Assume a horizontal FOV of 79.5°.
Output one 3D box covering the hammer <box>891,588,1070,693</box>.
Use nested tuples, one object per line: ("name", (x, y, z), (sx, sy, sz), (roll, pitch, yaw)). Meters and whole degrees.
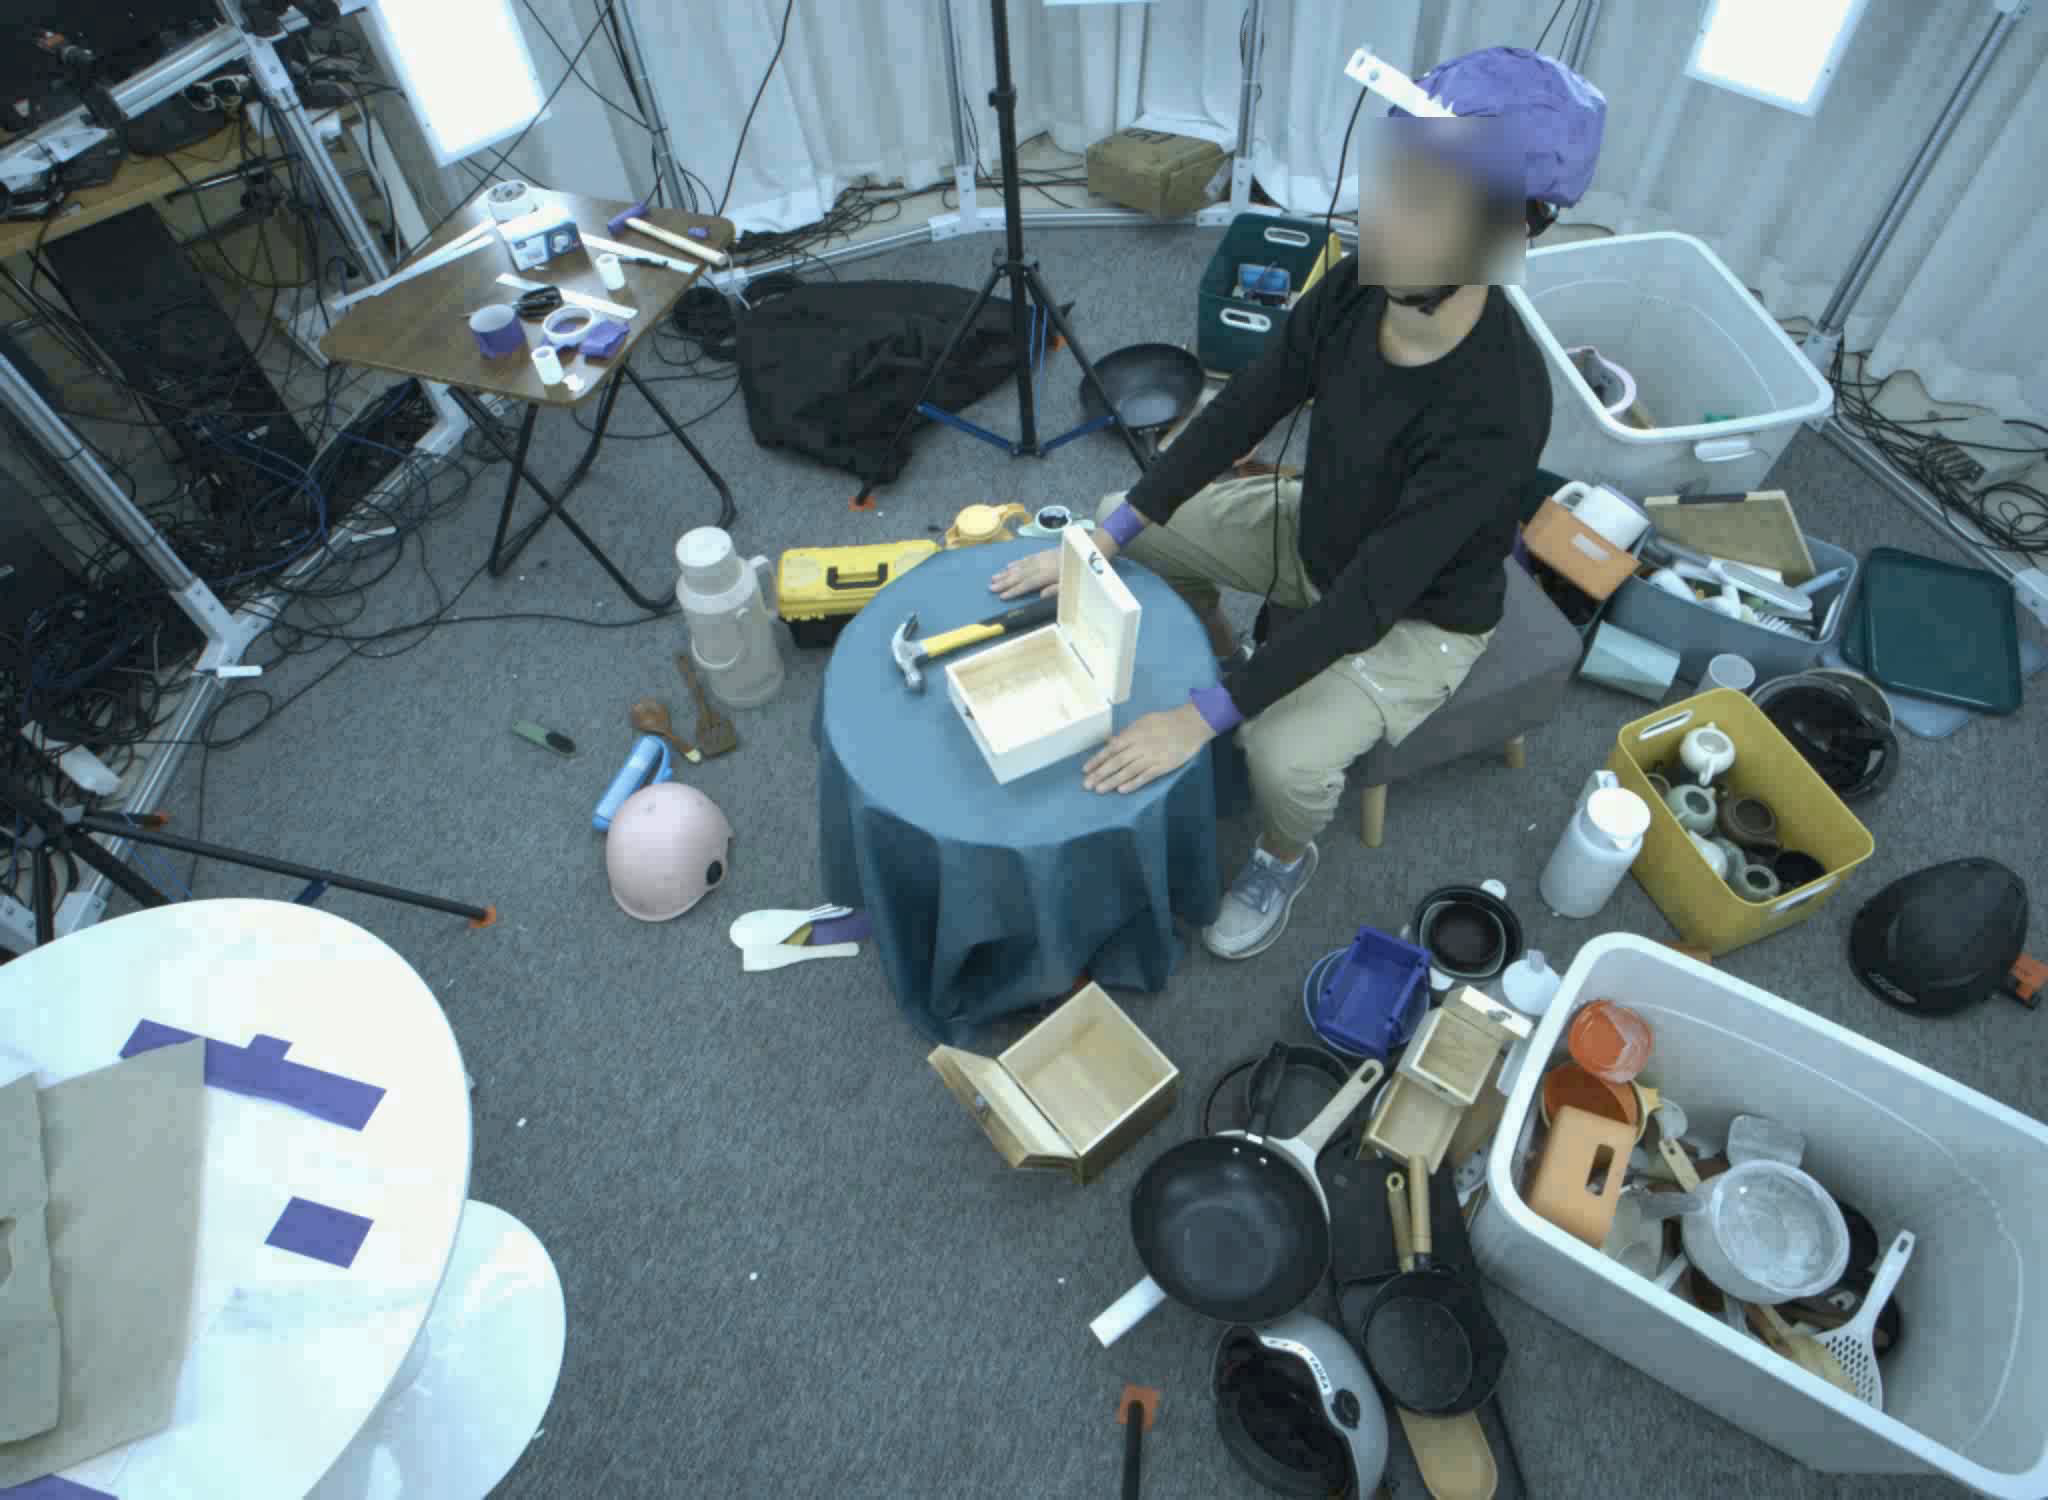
("hammer", (-0.043, -0.196, 1.902), (0.340, 0.032, 0.129), (-20, 57, -11))

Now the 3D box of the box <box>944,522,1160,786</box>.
("box", (0.030, -0.134, 1.724), (0.267, 0.256, 0.178), (-24, 54, -14))
